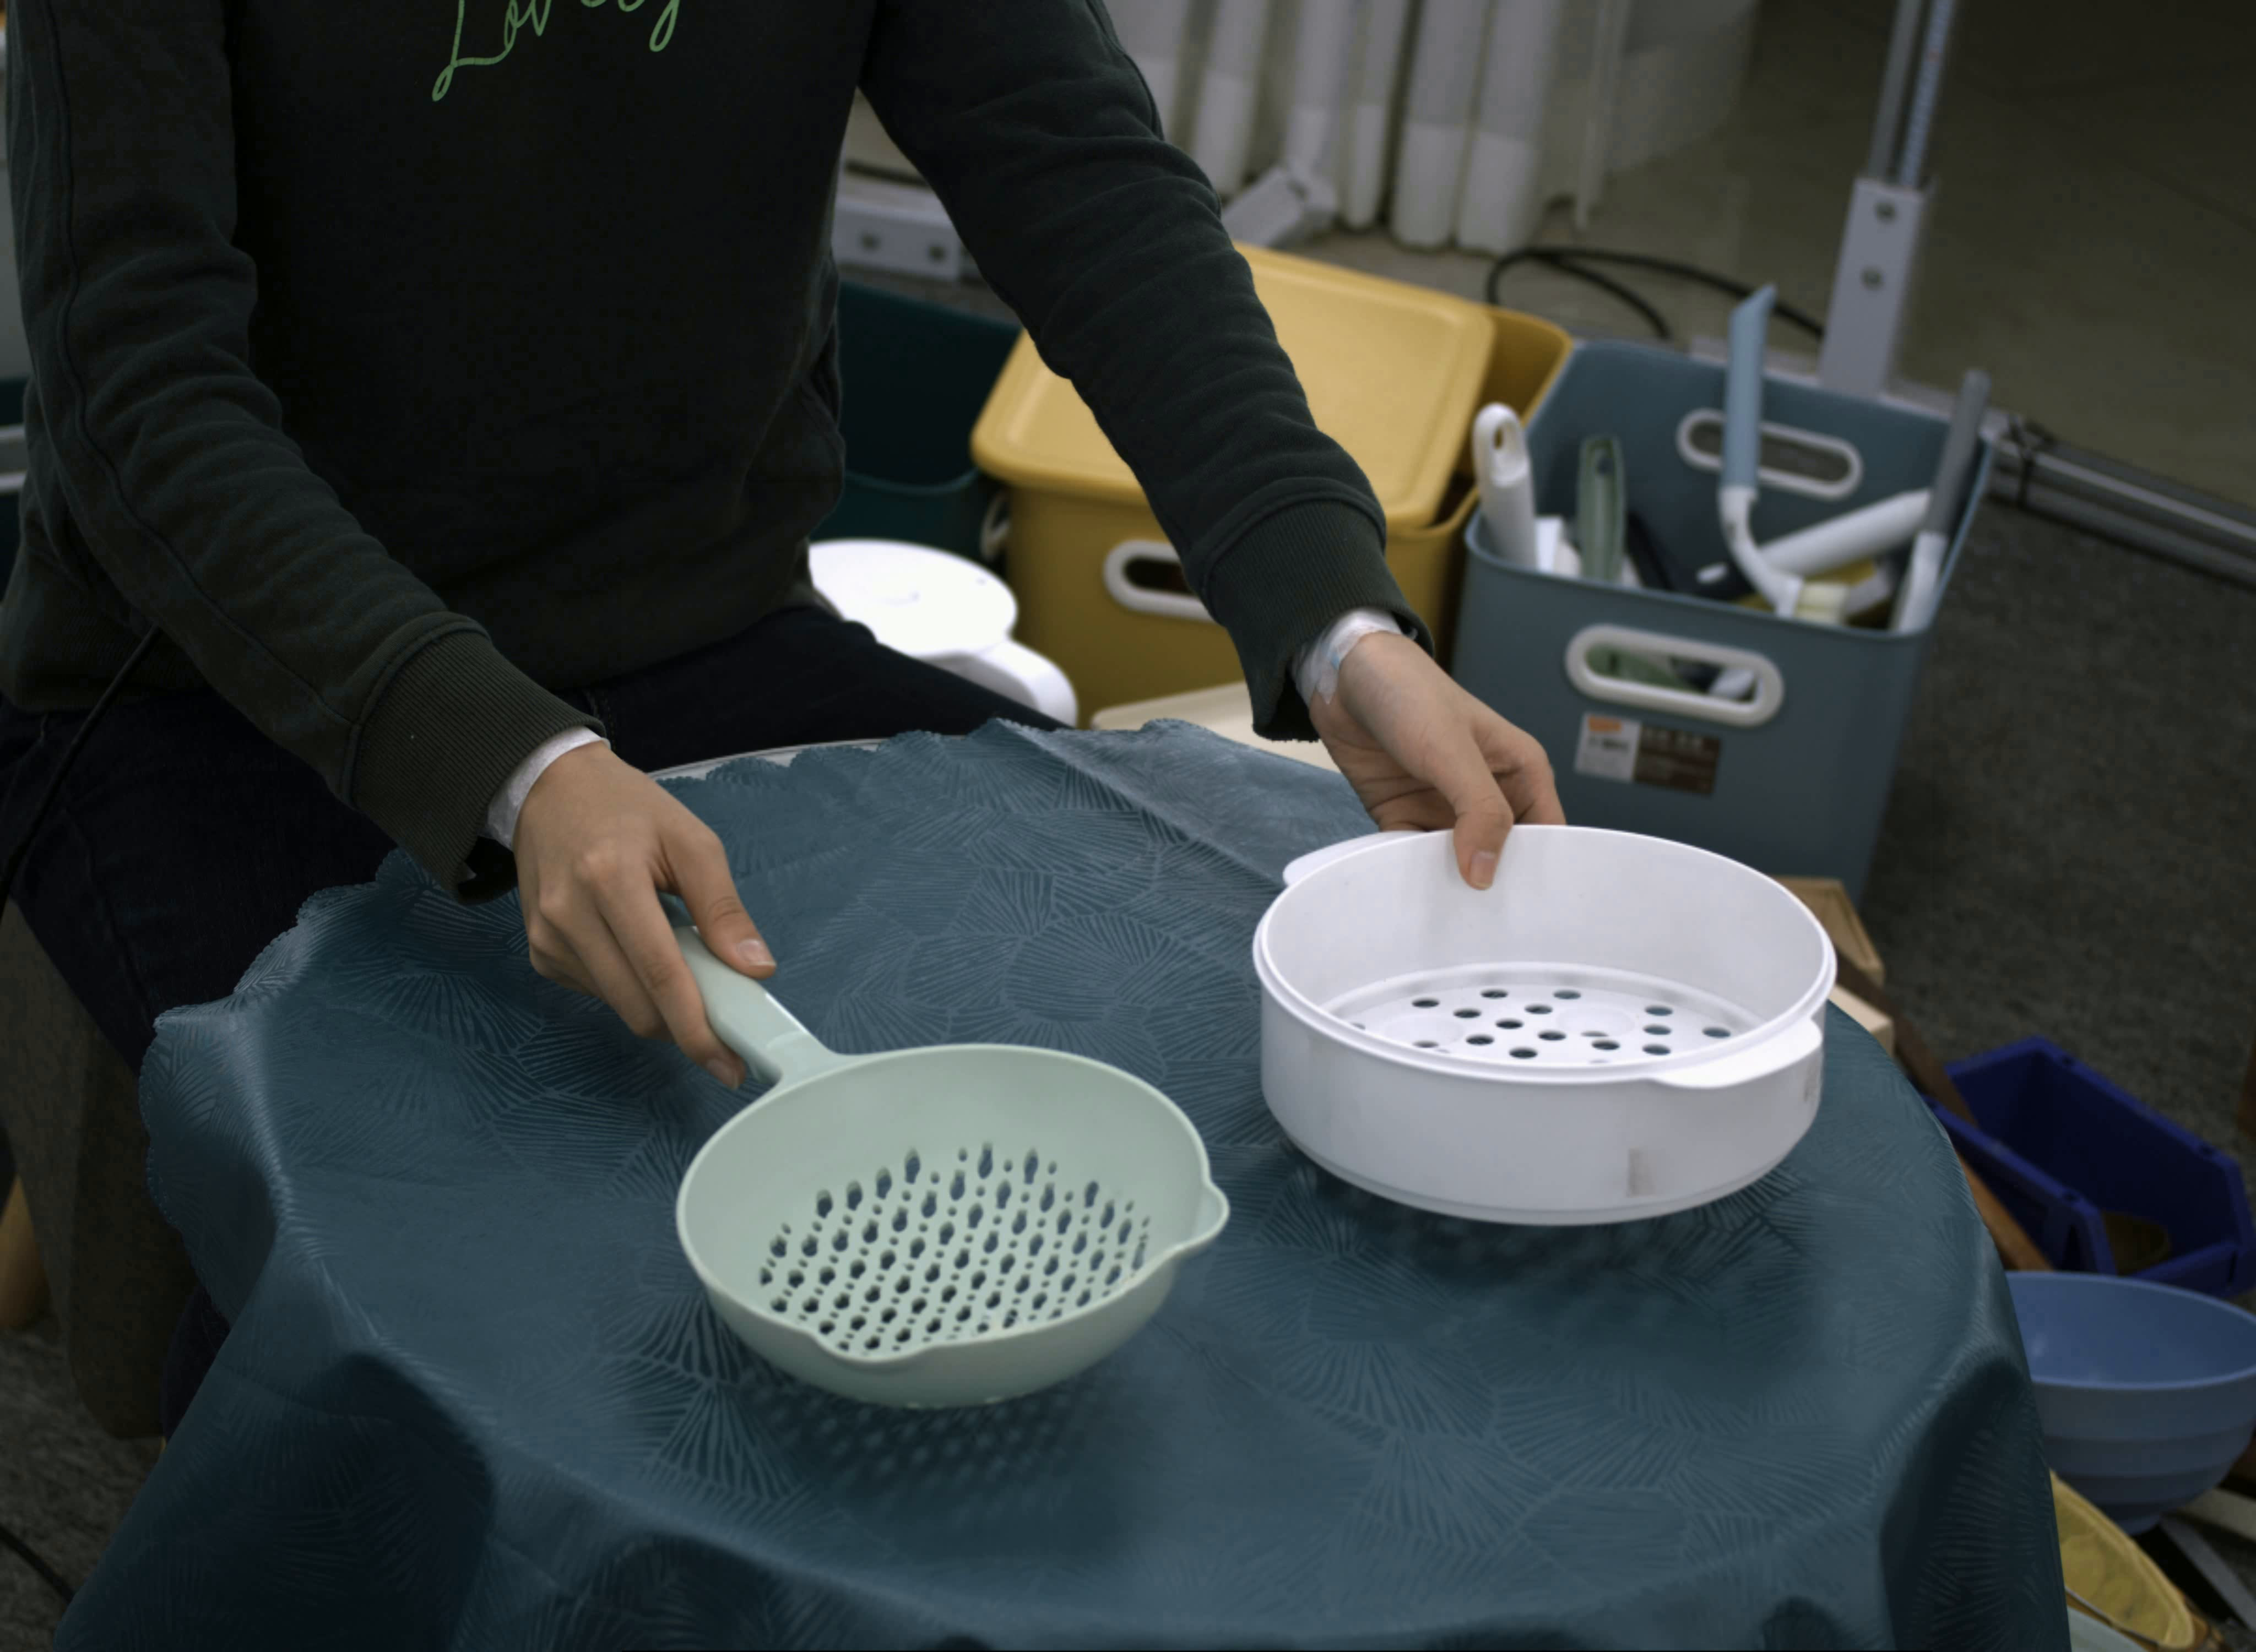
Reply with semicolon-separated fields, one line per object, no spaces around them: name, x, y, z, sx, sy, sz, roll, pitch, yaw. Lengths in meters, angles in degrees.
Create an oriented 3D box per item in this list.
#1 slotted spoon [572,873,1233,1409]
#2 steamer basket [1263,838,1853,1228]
slotted spoon;-0.105;0.086;1.752;0.168;0.075;0.362;-18;39;-24
steamer basket;0.146;0.071;1.828;0.201;0.069;0.232;-16;27;-34
